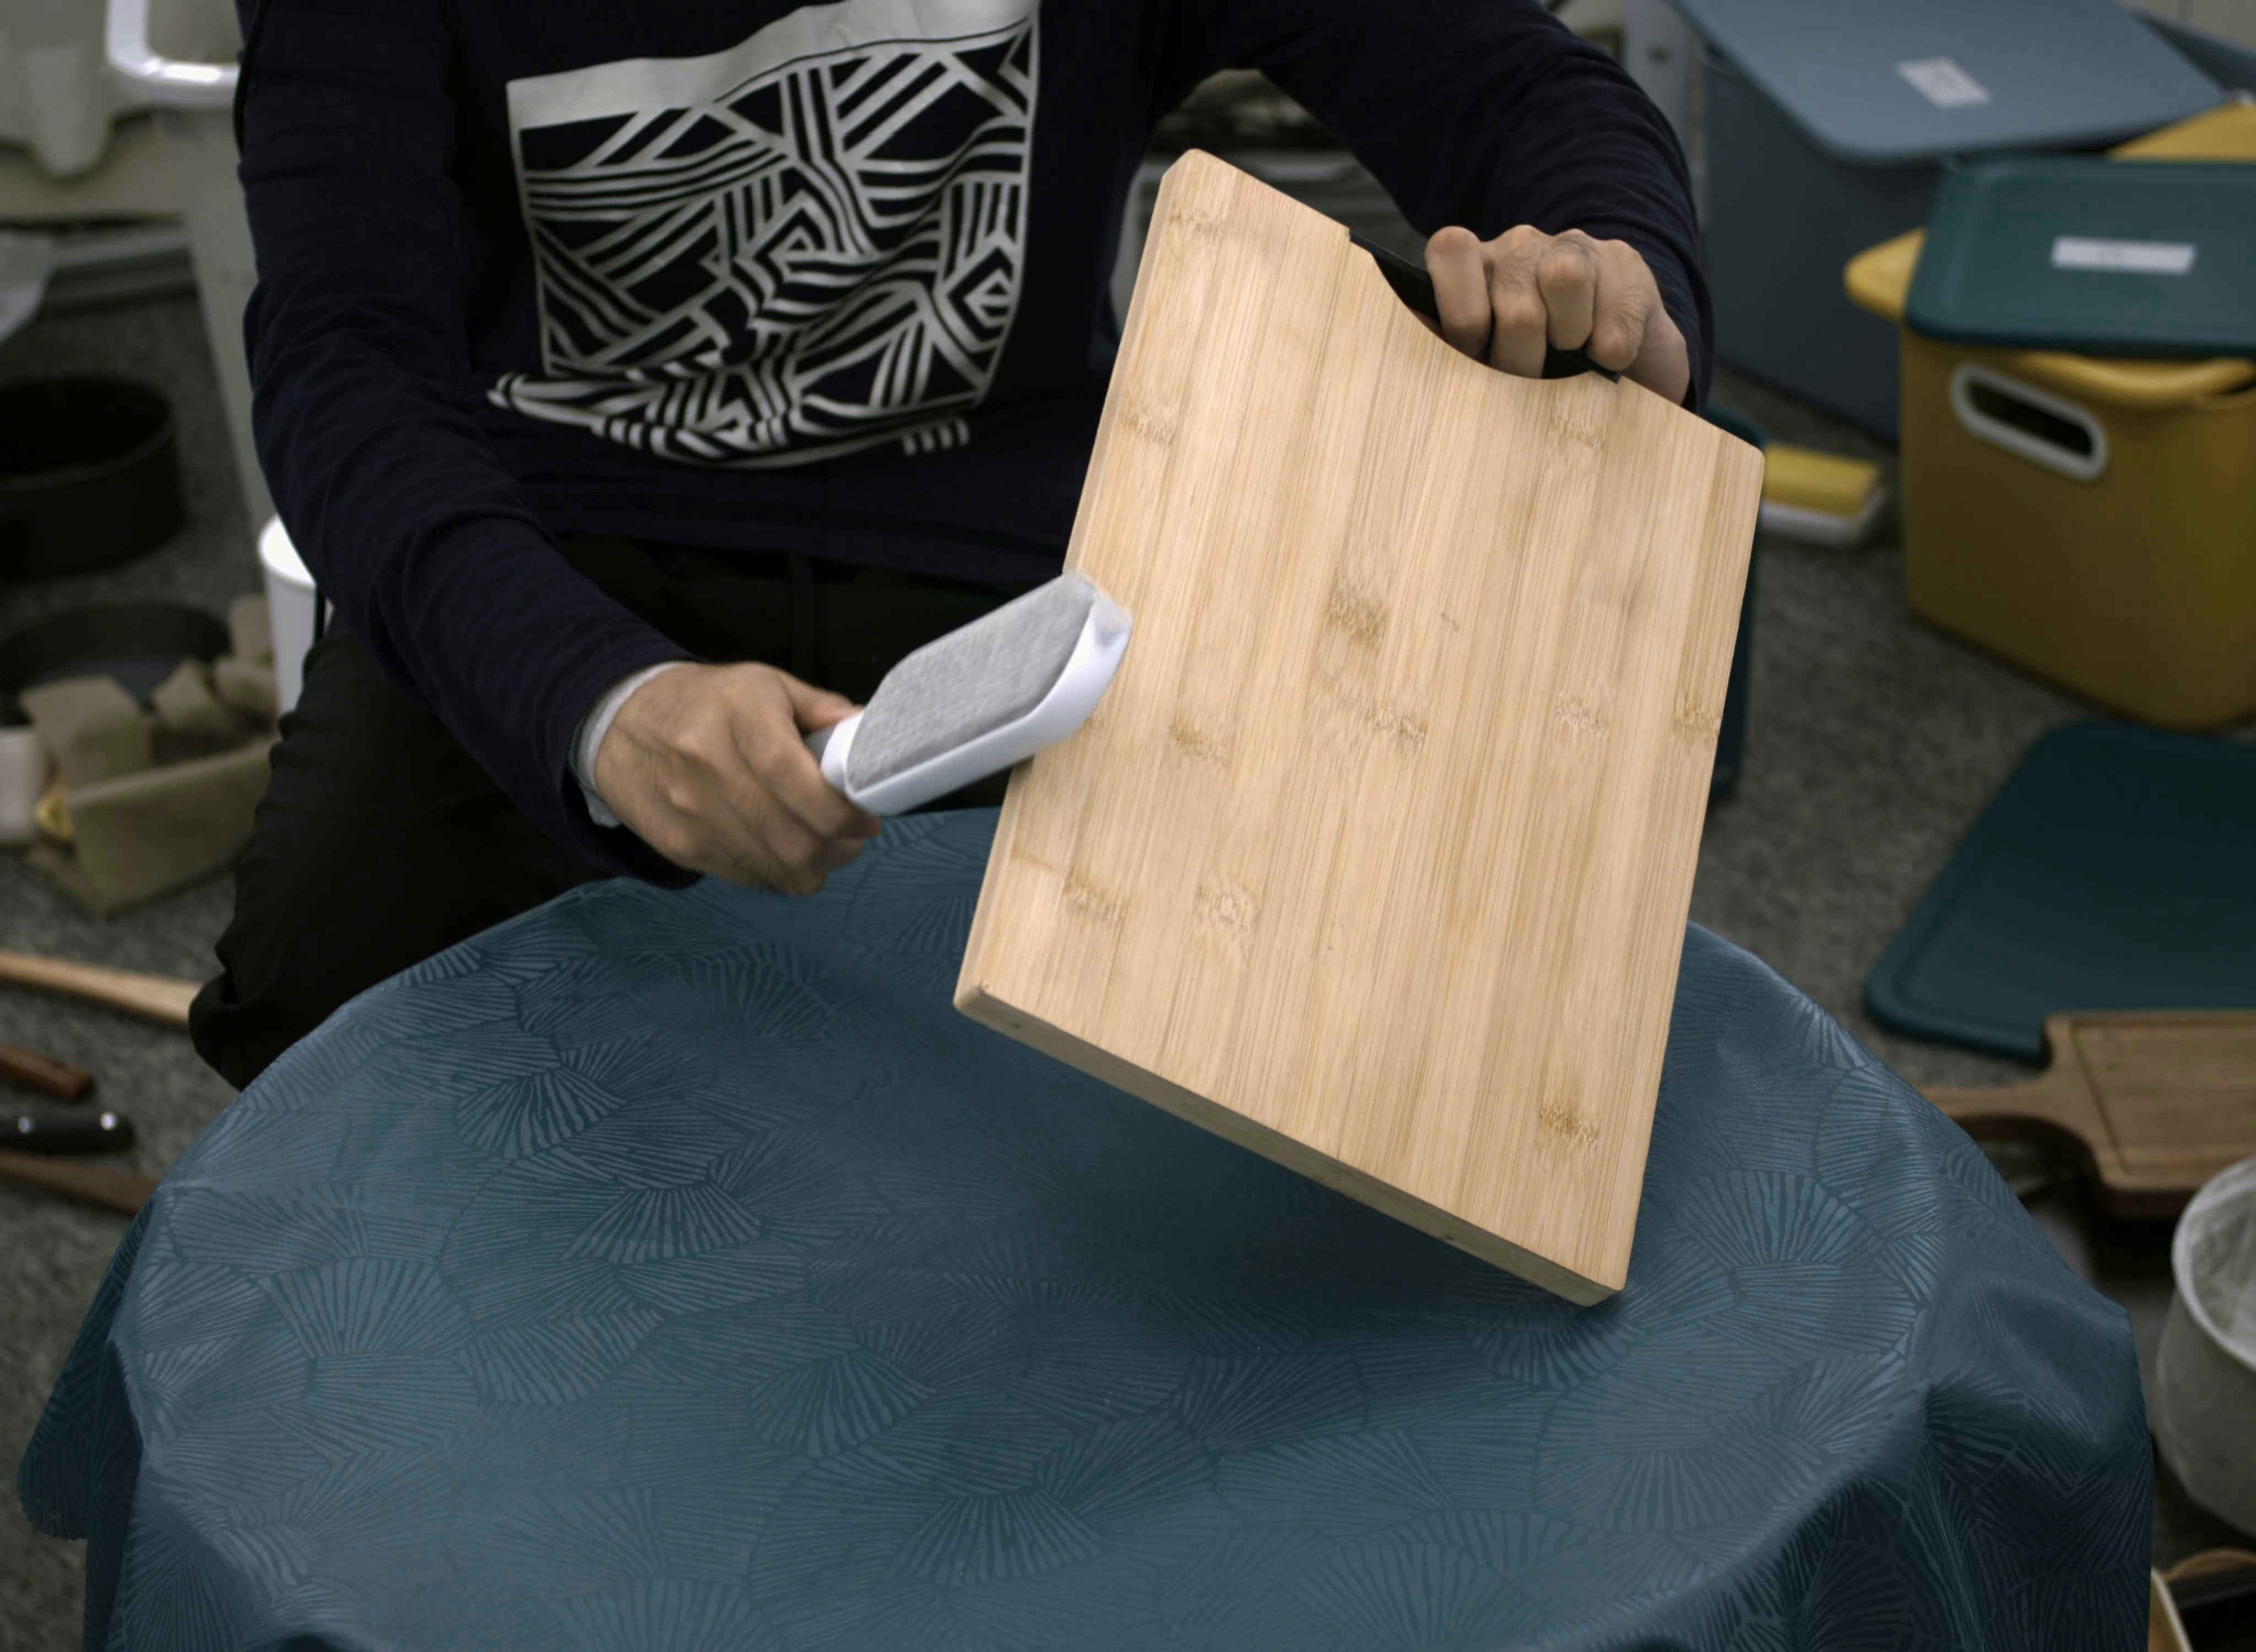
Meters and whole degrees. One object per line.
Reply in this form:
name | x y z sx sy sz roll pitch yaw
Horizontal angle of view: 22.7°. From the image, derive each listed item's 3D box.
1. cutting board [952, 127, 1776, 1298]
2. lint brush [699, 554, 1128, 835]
cutting board | 0.085 -0.042 1.844 0.250 0.023 0.356 26 54 -19
lint brush | -0.075 -0.035 1.833 0.021 0.061 0.305 23 -20 -21
